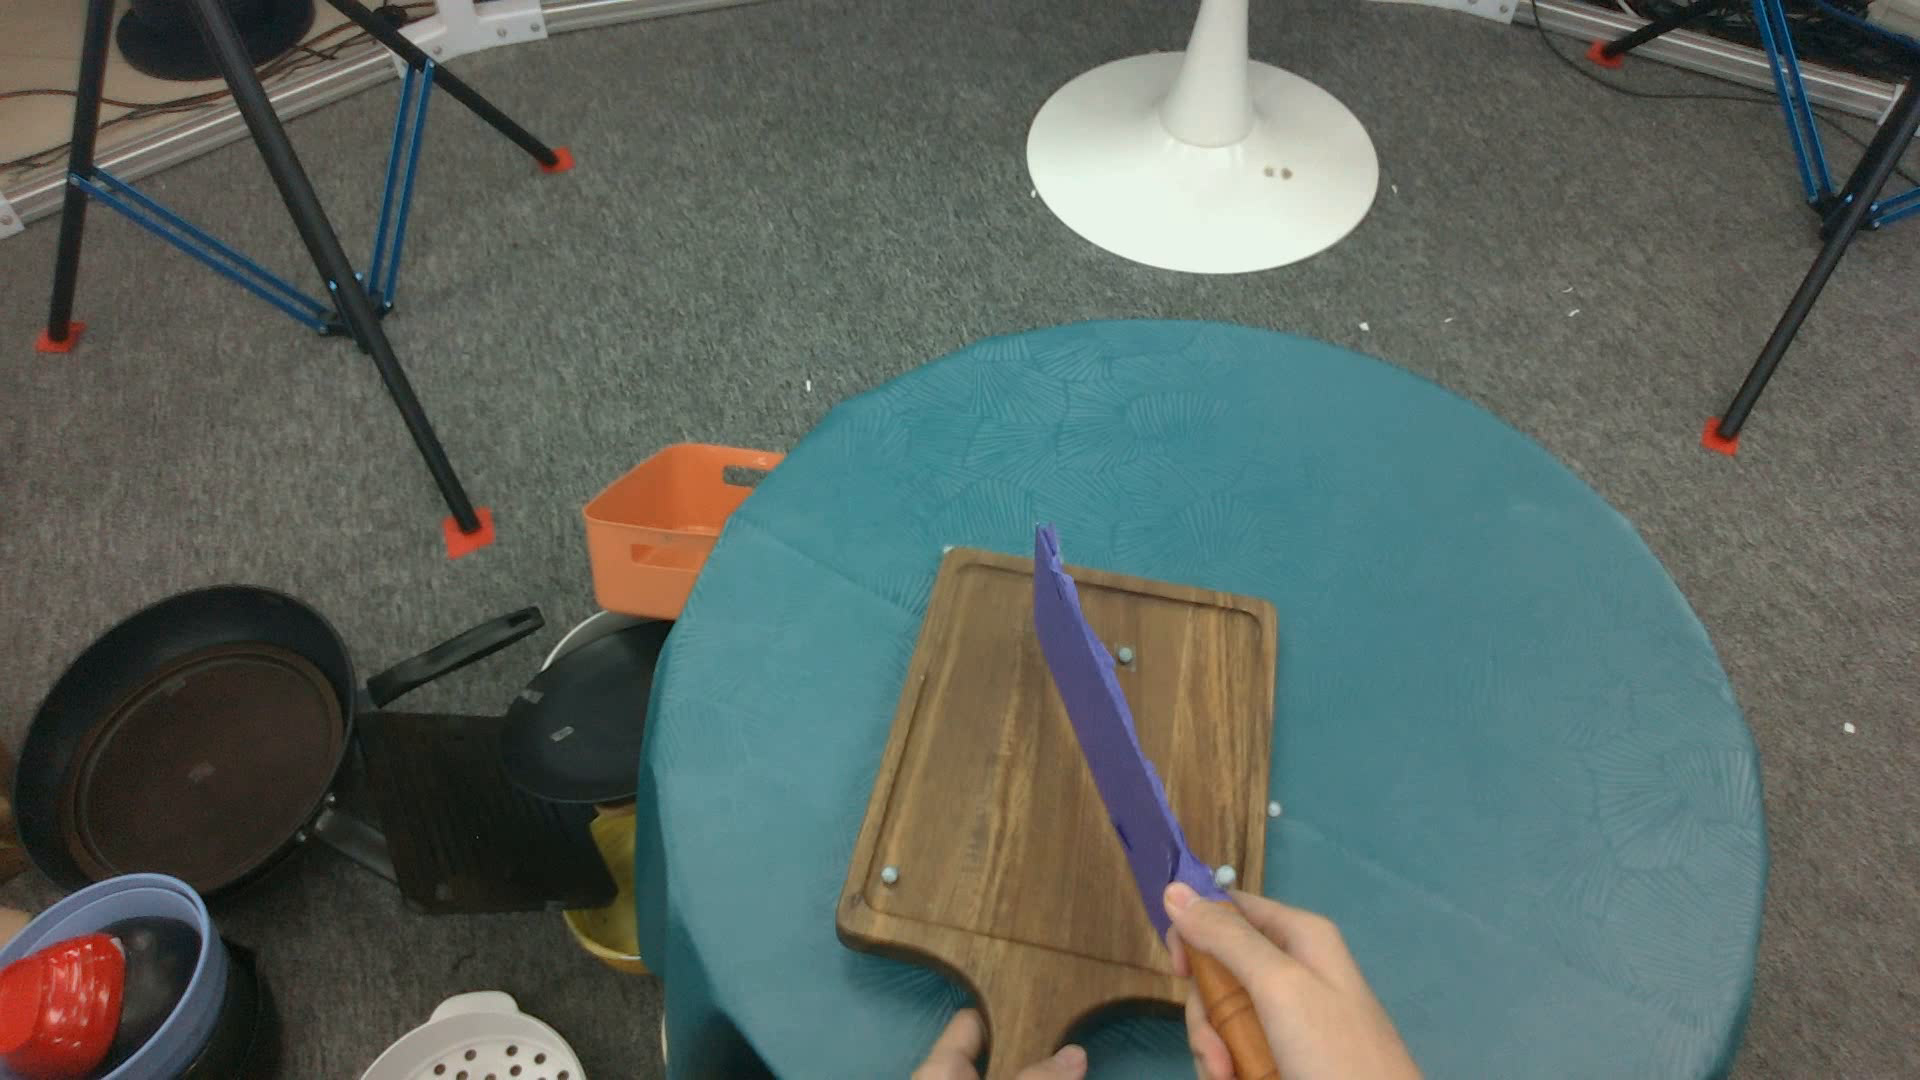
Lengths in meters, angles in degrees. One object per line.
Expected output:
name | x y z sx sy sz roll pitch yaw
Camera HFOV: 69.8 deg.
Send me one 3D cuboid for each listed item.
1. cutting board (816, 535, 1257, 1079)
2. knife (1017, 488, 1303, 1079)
cutting board | 0.041 0.142 0.685 0.201 0.023 0.354 10 48 6
knife | 0.078 0.118 0.628 0.032 0.103 0.316 -11 50 -8
